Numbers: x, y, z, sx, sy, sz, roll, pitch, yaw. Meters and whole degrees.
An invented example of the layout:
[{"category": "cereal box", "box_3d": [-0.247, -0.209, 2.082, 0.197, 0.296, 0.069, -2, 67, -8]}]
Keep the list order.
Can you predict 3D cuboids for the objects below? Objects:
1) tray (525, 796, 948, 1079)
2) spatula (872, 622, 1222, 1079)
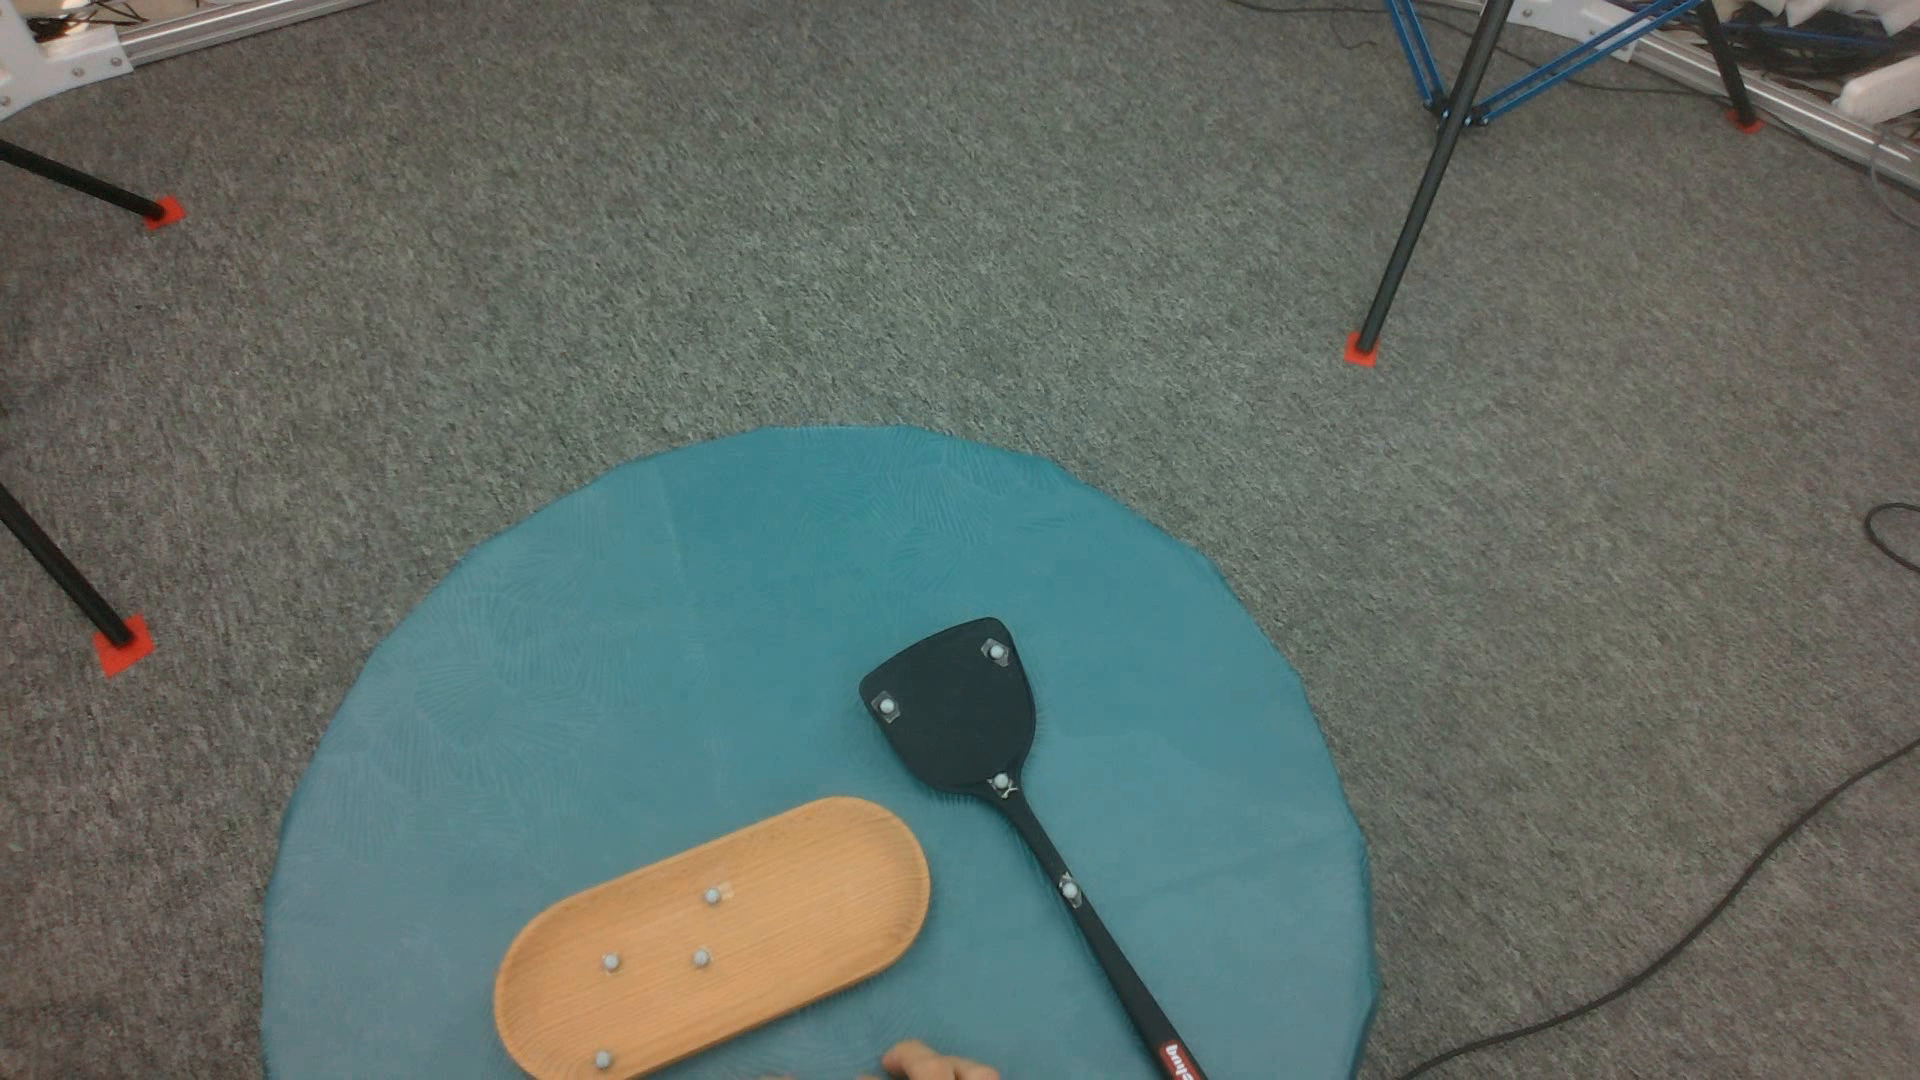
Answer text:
[{"category": "tray", "box_3d": [-0.117, 0.212, 0.743, 0.231, 0.020, 0.102, -18, 59, -16]}, {"category": "spatula", "box_3d": [0.067, 0.190, 0.753, 0.100, 0.040, 0.327, -25, 61, -17]}]
